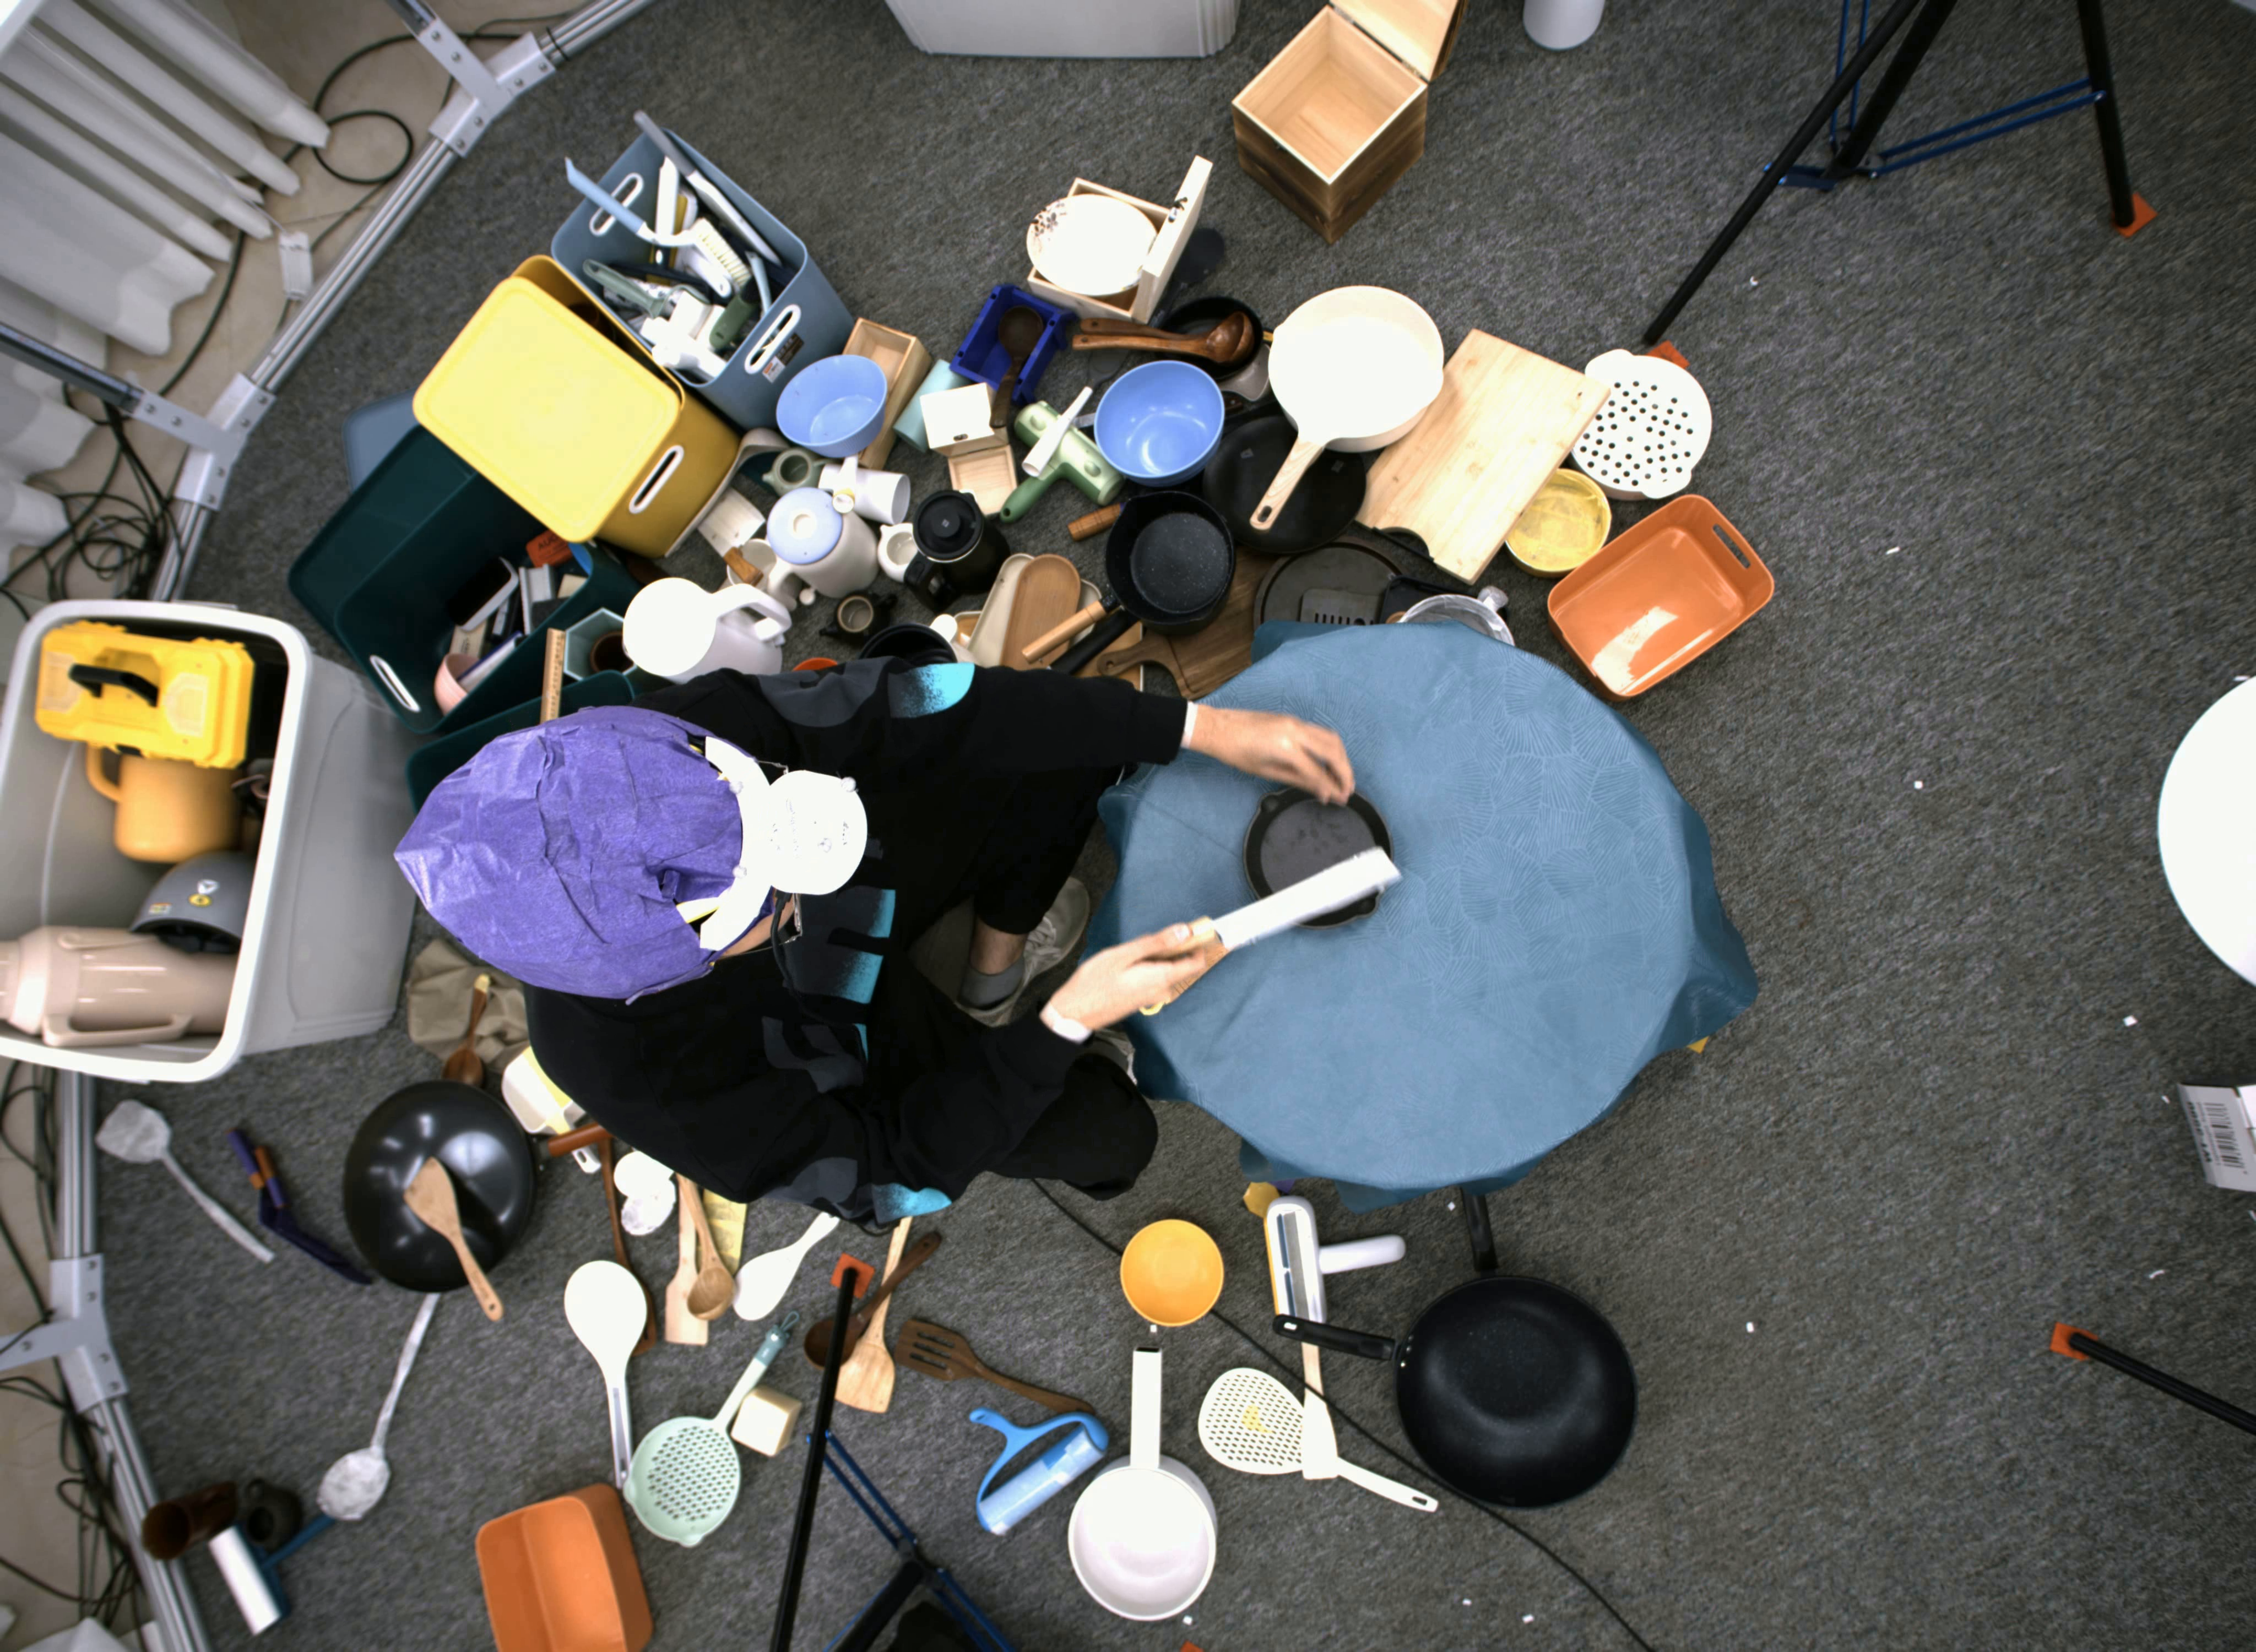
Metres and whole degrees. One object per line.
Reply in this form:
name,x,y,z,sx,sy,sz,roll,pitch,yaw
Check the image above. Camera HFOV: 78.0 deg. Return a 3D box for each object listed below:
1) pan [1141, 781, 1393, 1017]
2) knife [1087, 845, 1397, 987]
pan,0.137,0.086,1.458,0.325,0.049,0.168,-42,81,4
knife,0.108,0.085,1.328,0.317,0.115,0.021,-23,68,7
